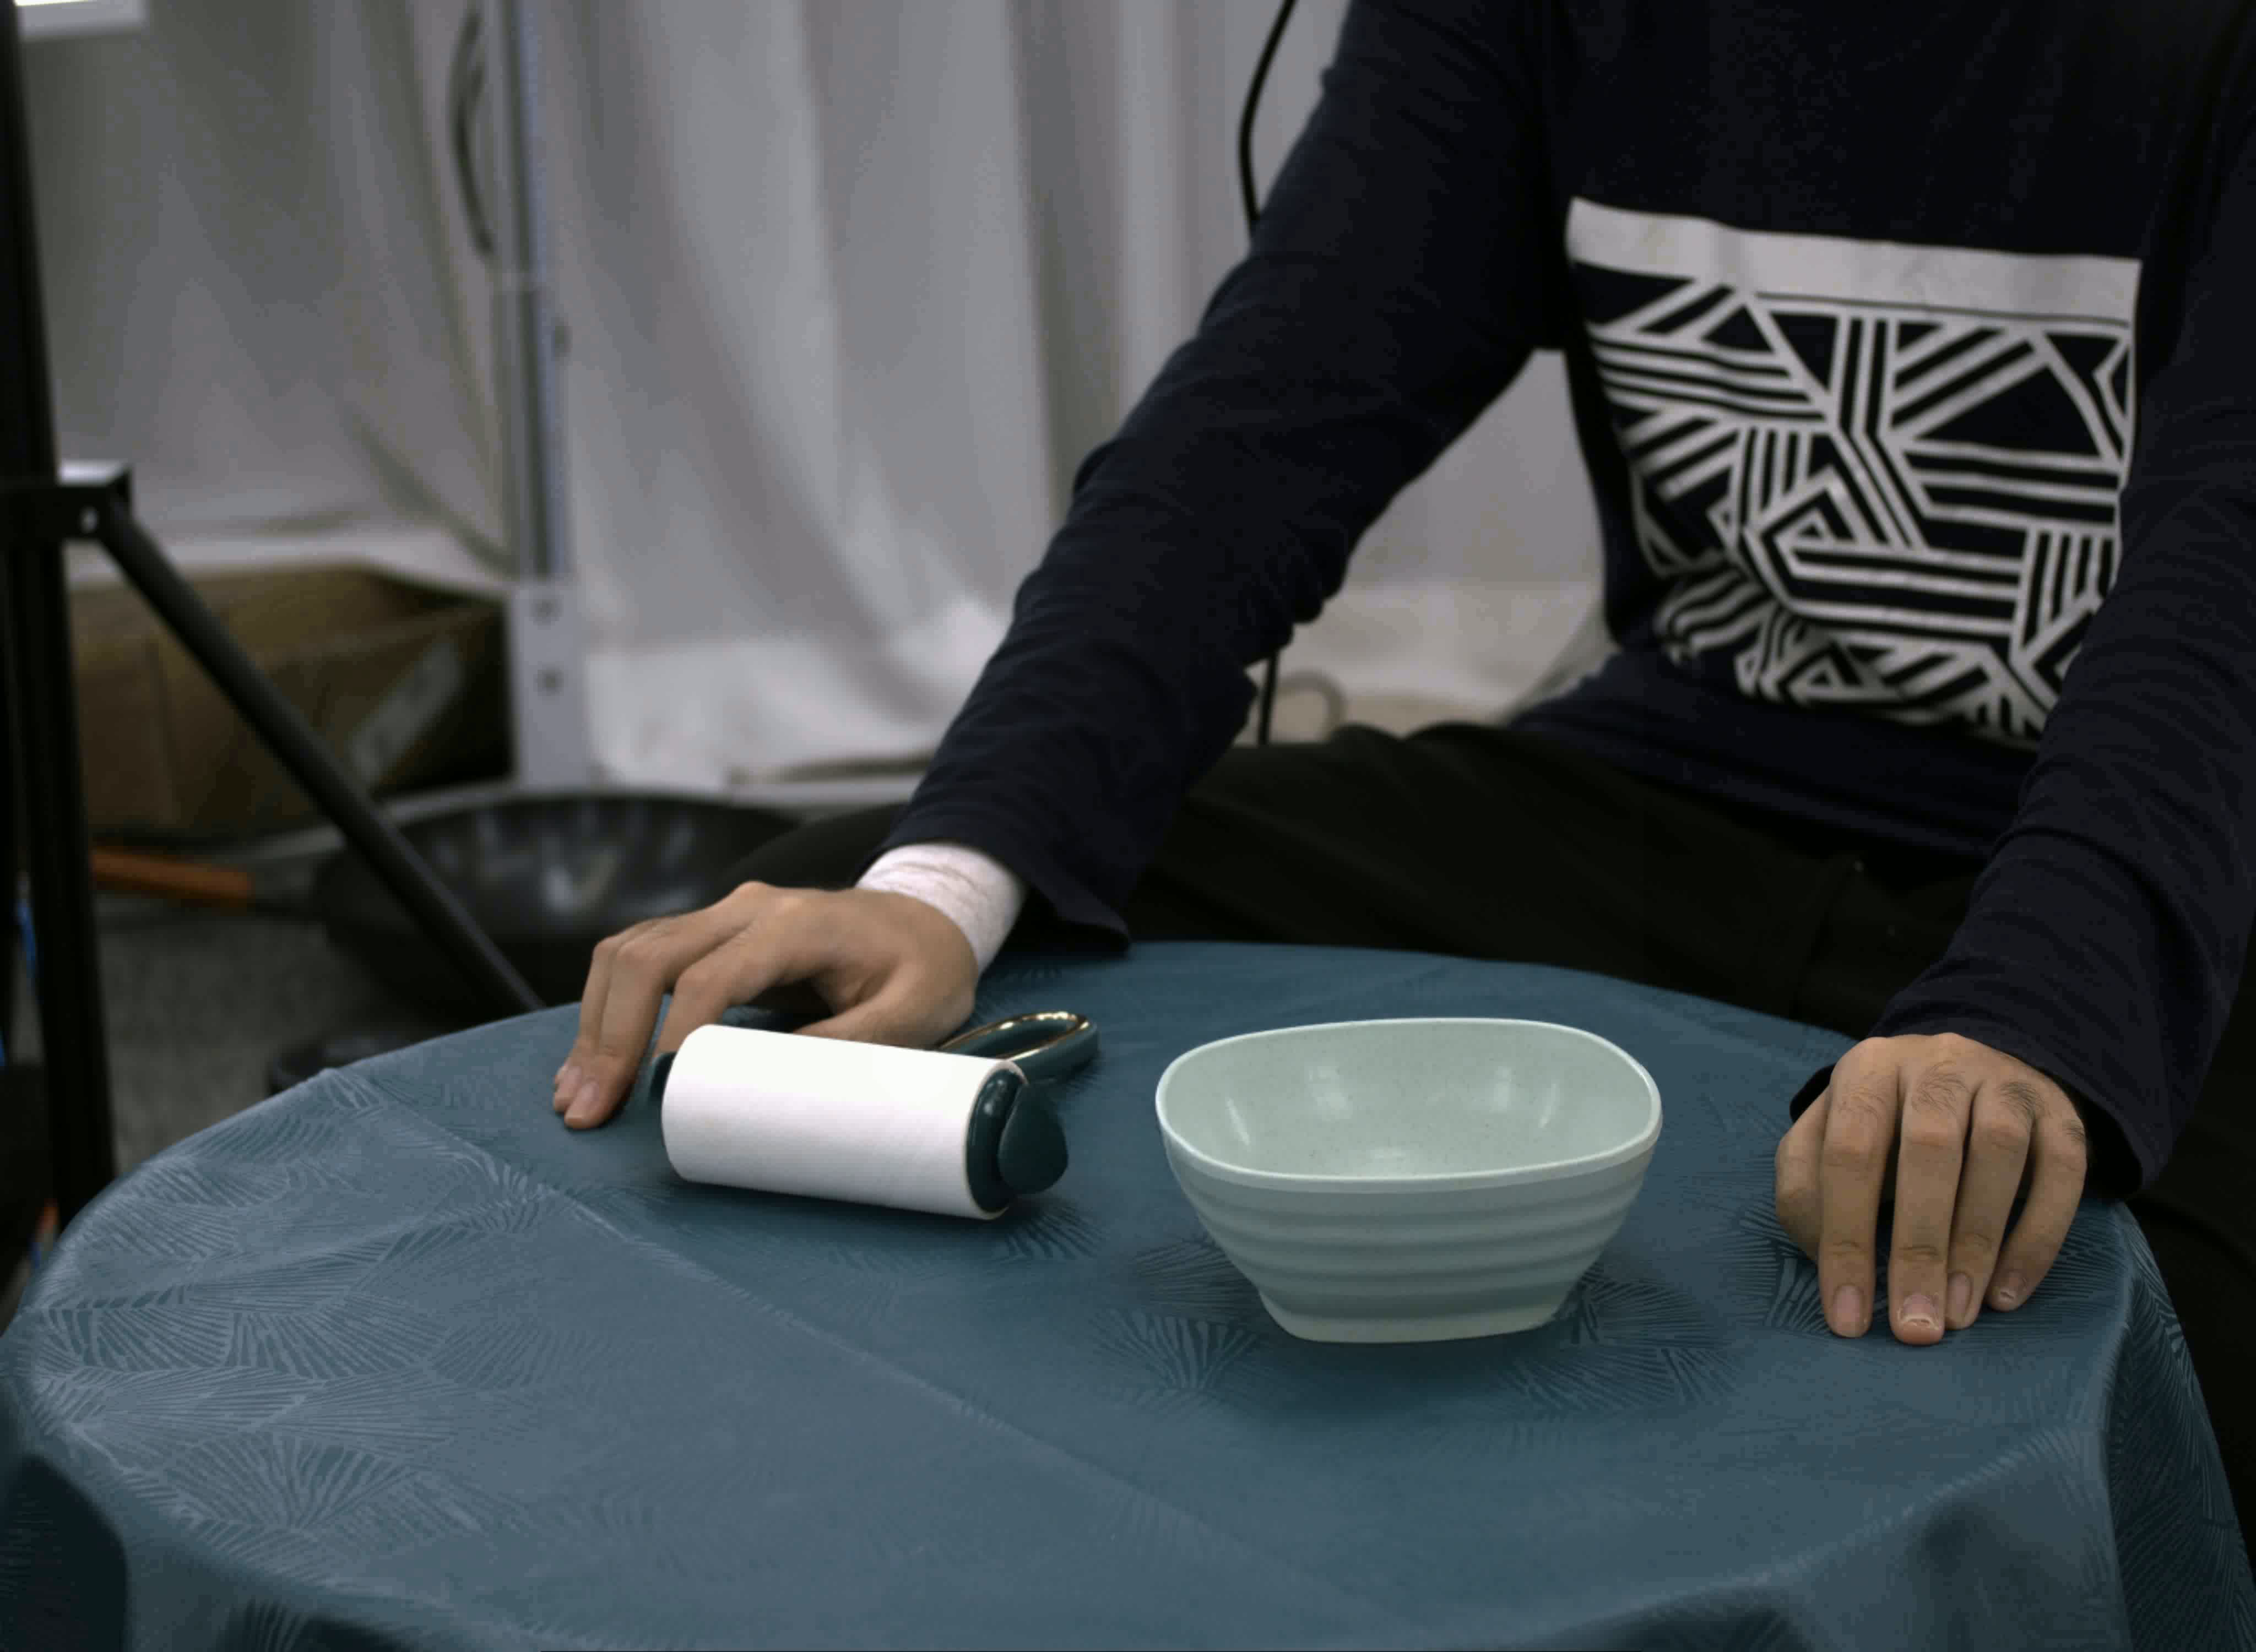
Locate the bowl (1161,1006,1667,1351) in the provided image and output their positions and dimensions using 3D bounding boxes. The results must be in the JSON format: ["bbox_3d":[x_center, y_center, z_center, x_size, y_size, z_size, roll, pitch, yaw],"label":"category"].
[{"bbox_3d":[0.080,0.102,1.468,0.151,0.058,0.152,-3,18,0],"label":"bowl"}]

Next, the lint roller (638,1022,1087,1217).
[{"bbox_3d":[-0.056,0.073,1.622,0.136,0.048,0.177,5,14,25],"label":"lint roller"}]
